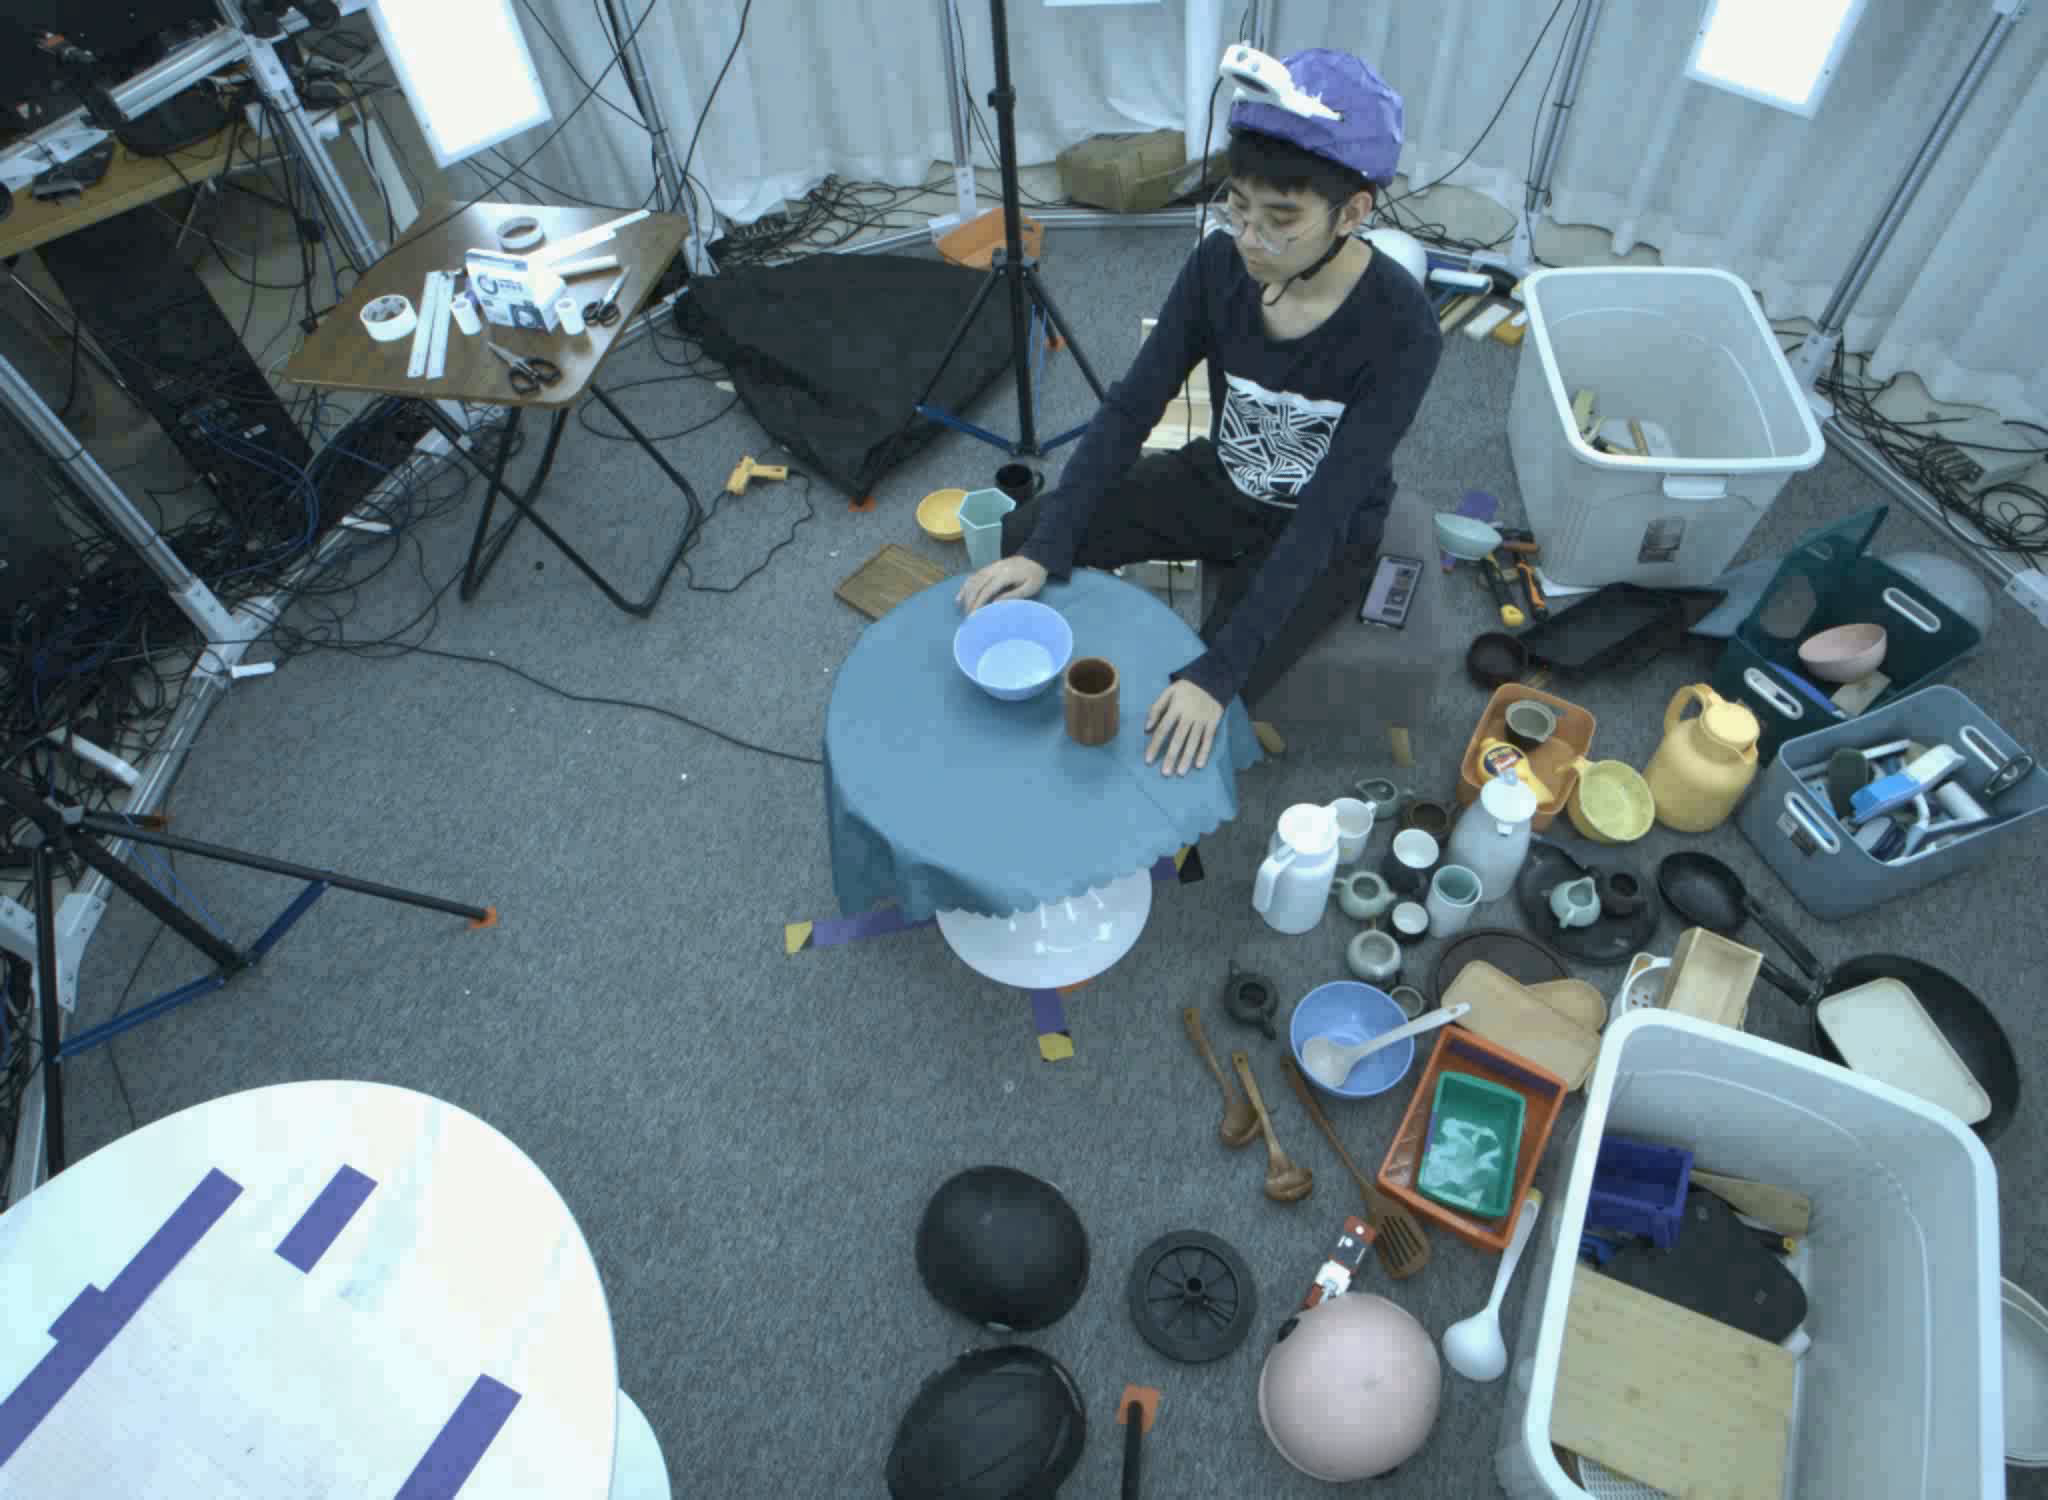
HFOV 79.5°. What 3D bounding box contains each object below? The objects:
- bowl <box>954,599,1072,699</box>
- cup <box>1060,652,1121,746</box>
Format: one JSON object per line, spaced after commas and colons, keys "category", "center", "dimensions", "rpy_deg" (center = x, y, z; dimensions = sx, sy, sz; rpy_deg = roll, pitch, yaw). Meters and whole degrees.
{"category": "bowl", "center": [-0.015, -0.141, 1.838], "dimensions": [0.176, 0.071, 0.174], "rpy_deg": [0, 54, 1]}
{"category": "cup", "center": [0.094, -0.072, 1.756], "dimensions": [0.088, 0.119, 0.087], "rpy_deg": [0, 53, 1]}
